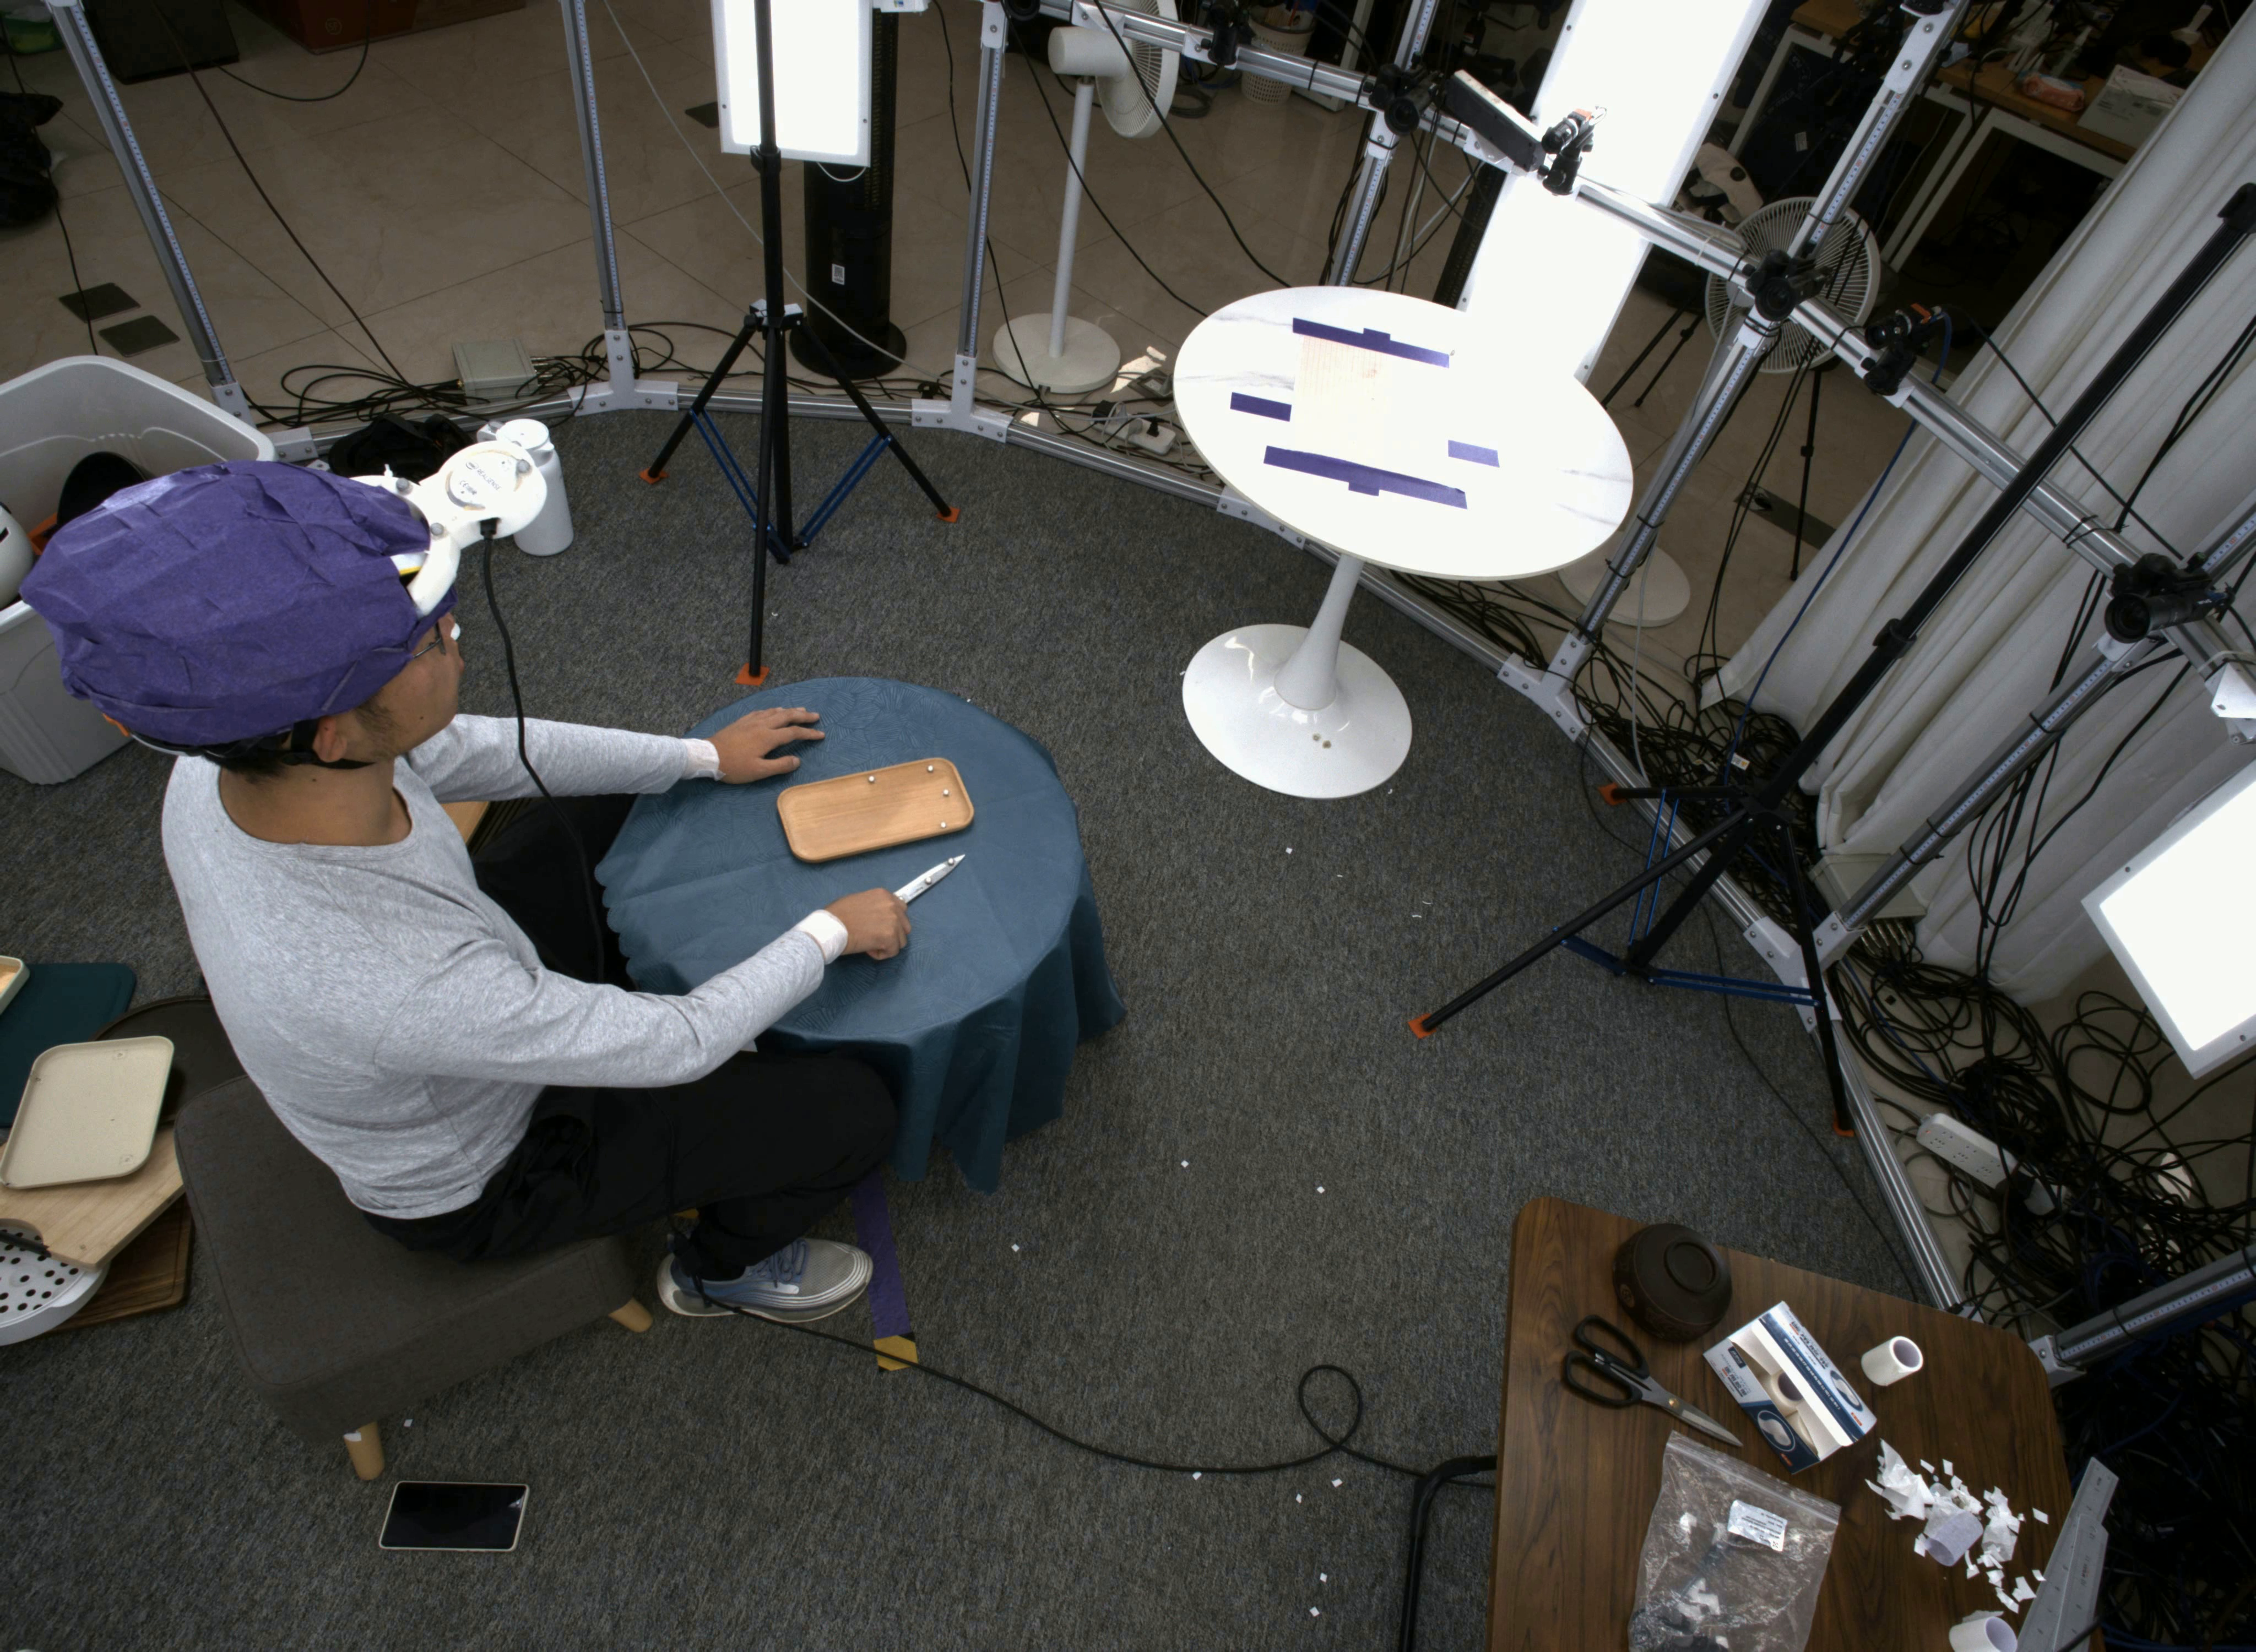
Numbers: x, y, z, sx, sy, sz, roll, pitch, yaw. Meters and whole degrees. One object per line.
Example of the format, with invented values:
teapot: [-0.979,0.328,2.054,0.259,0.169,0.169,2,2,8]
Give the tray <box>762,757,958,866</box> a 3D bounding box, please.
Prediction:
tray: [-0.361,-0.021,1.757,0.252,0.023,0.127,-14,56,-22]

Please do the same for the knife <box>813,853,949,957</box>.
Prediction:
knife: [-0.313,0.097,1.684,0.024,0.016,0.238,39,51,16]
